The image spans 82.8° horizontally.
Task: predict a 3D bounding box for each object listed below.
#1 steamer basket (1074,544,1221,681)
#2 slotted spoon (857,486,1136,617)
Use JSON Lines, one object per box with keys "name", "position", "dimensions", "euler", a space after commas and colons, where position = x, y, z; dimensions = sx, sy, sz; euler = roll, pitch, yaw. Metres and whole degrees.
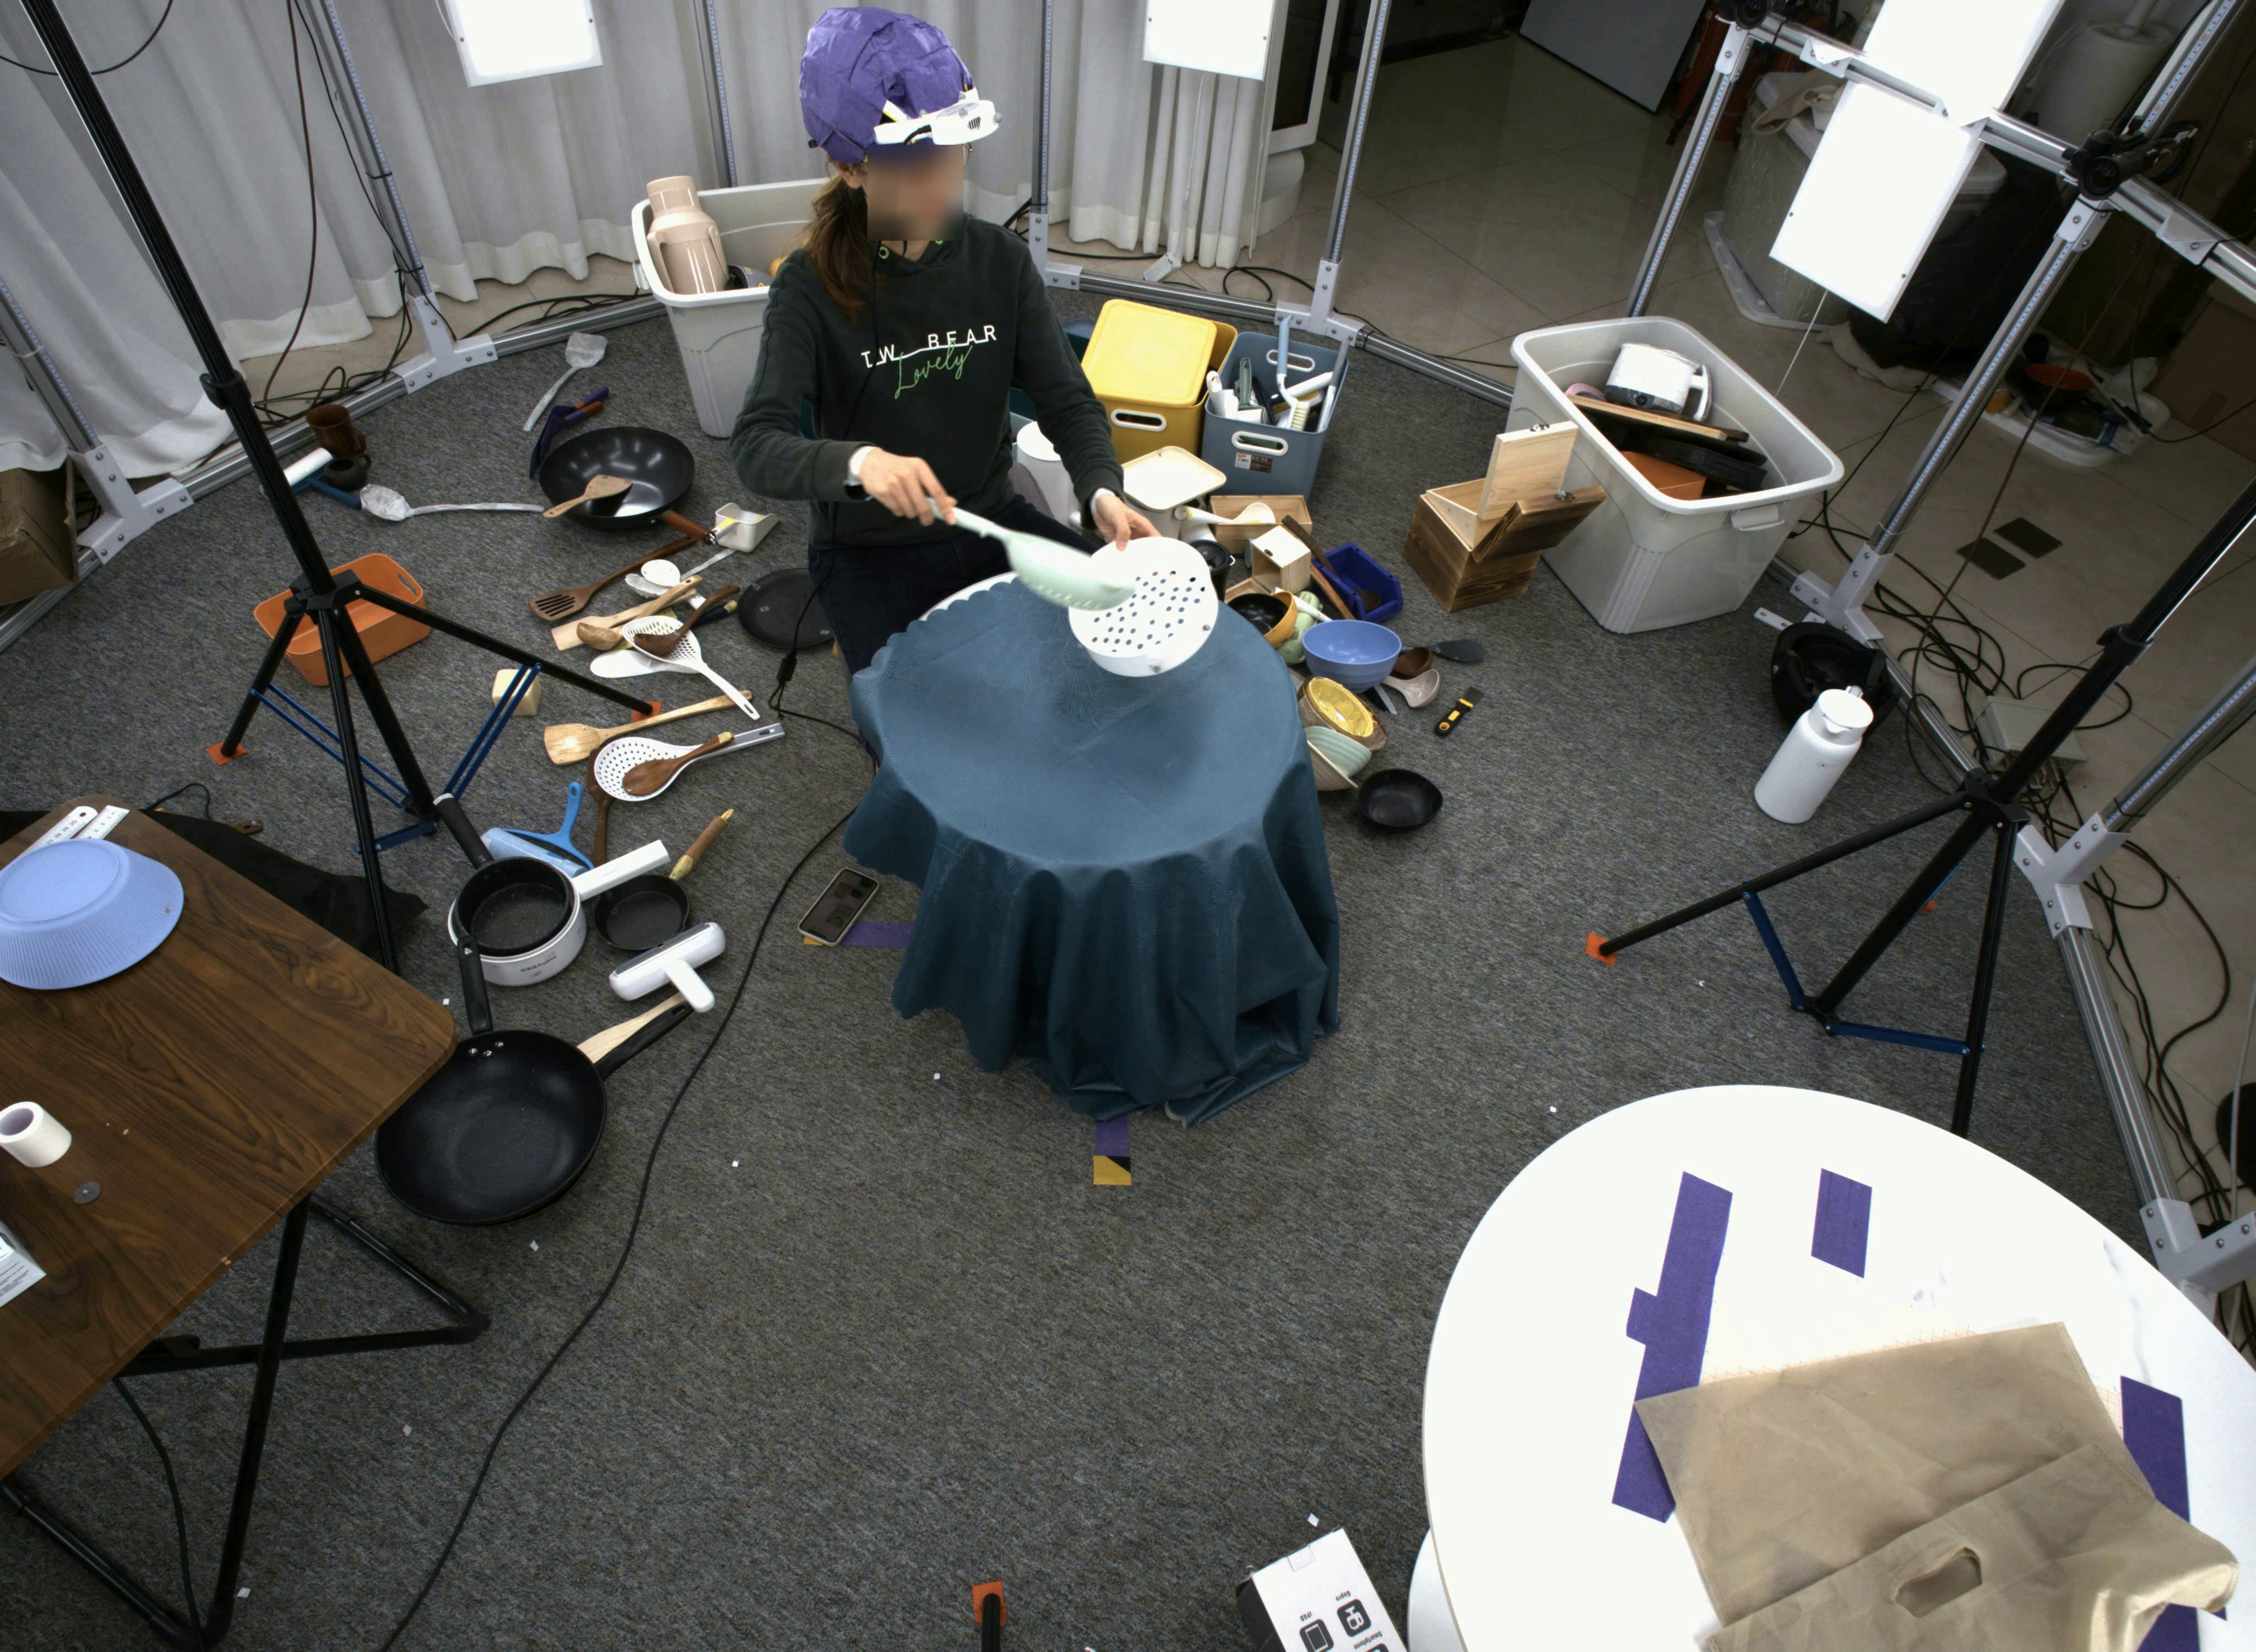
{"name": "steamer basket", "position": [0.030, -0.292, 1.770], "dimensions": [0.202, 0.067, 0.236], "euler": [-32, 53, 0]}
{"name": "slotted spoon", "position": [-0.163, -0.350, 1.594], "dimensions": [0.359, 0.075, 0.171], "euler": [31, 15, 1]}
